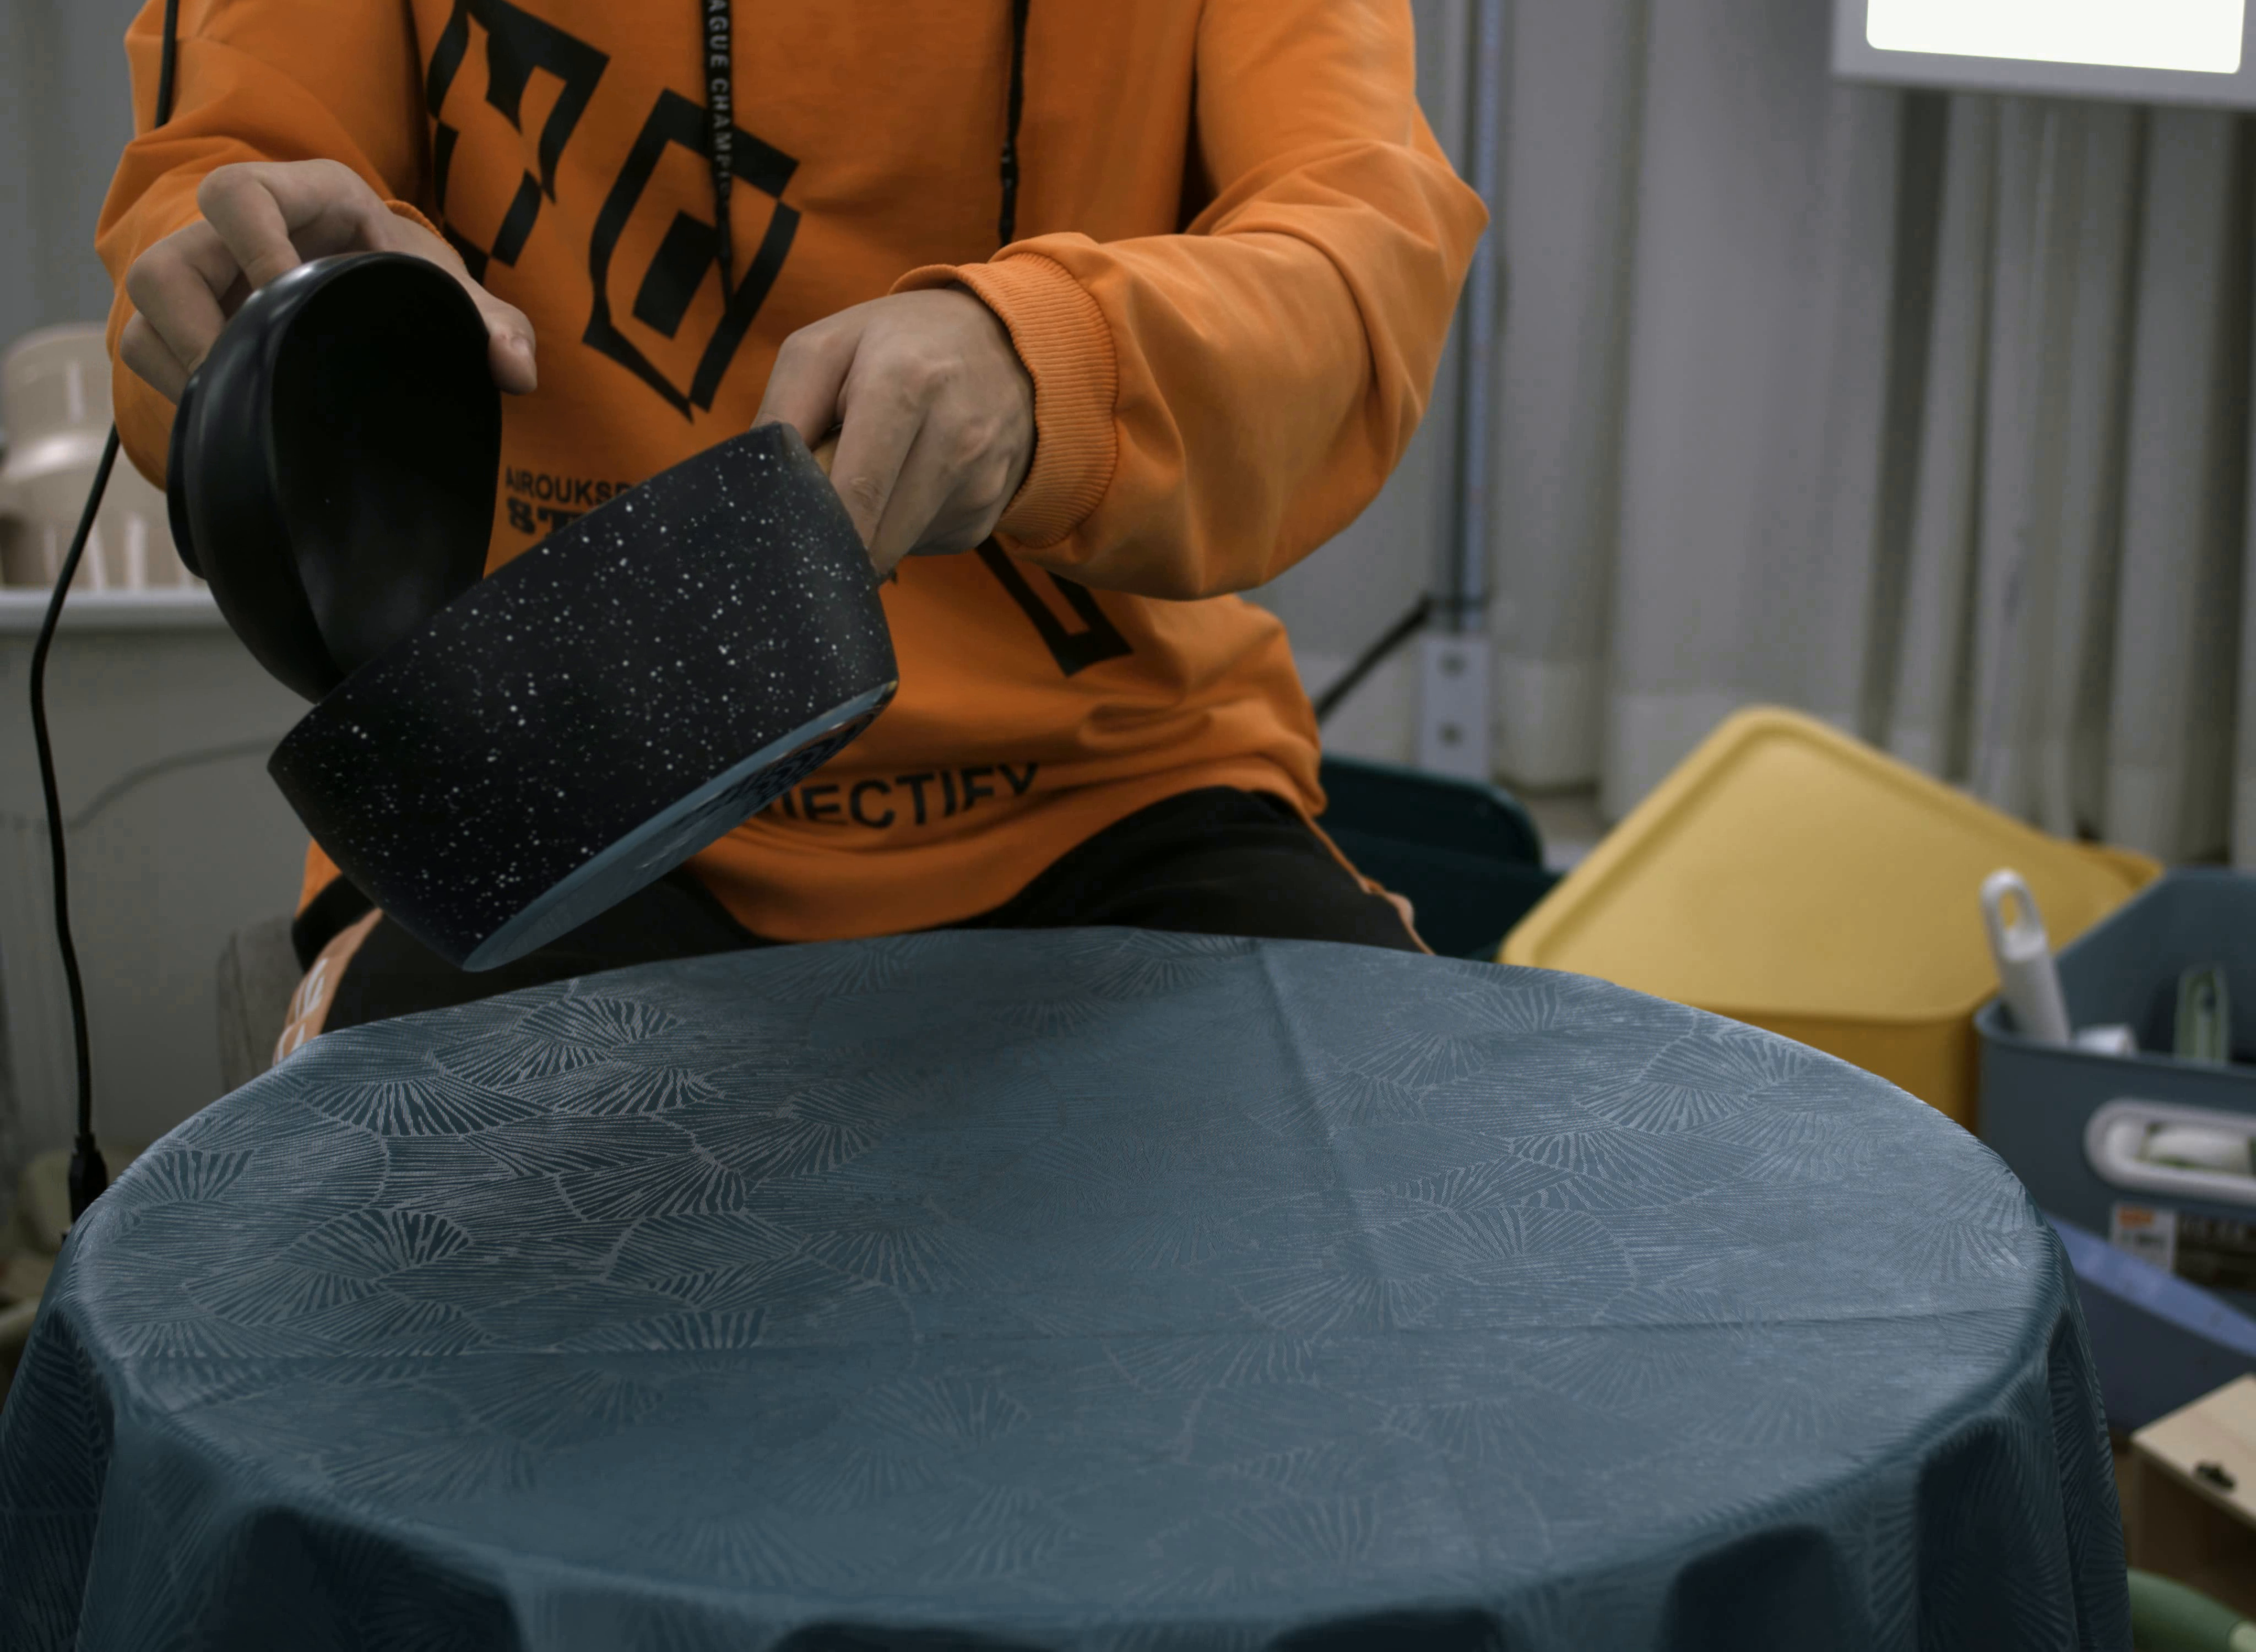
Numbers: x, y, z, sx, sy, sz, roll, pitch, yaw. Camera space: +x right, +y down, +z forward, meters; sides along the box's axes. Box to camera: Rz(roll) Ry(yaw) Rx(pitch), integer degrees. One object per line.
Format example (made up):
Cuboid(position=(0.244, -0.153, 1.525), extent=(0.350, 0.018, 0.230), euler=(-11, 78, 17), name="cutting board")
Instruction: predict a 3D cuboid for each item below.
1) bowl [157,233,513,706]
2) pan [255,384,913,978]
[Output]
Cuboid(position=(-0.240, -0.103, 1.539), extent=(0.066, 0.137, 0.172), euler=(7, -18, 17), name="bowl")
Cuboid(position=(-0.127, -0.059, 1.602), extent=(0.207, 0.108, 0.343), euler=(-36, -2, 27), name="pan")
